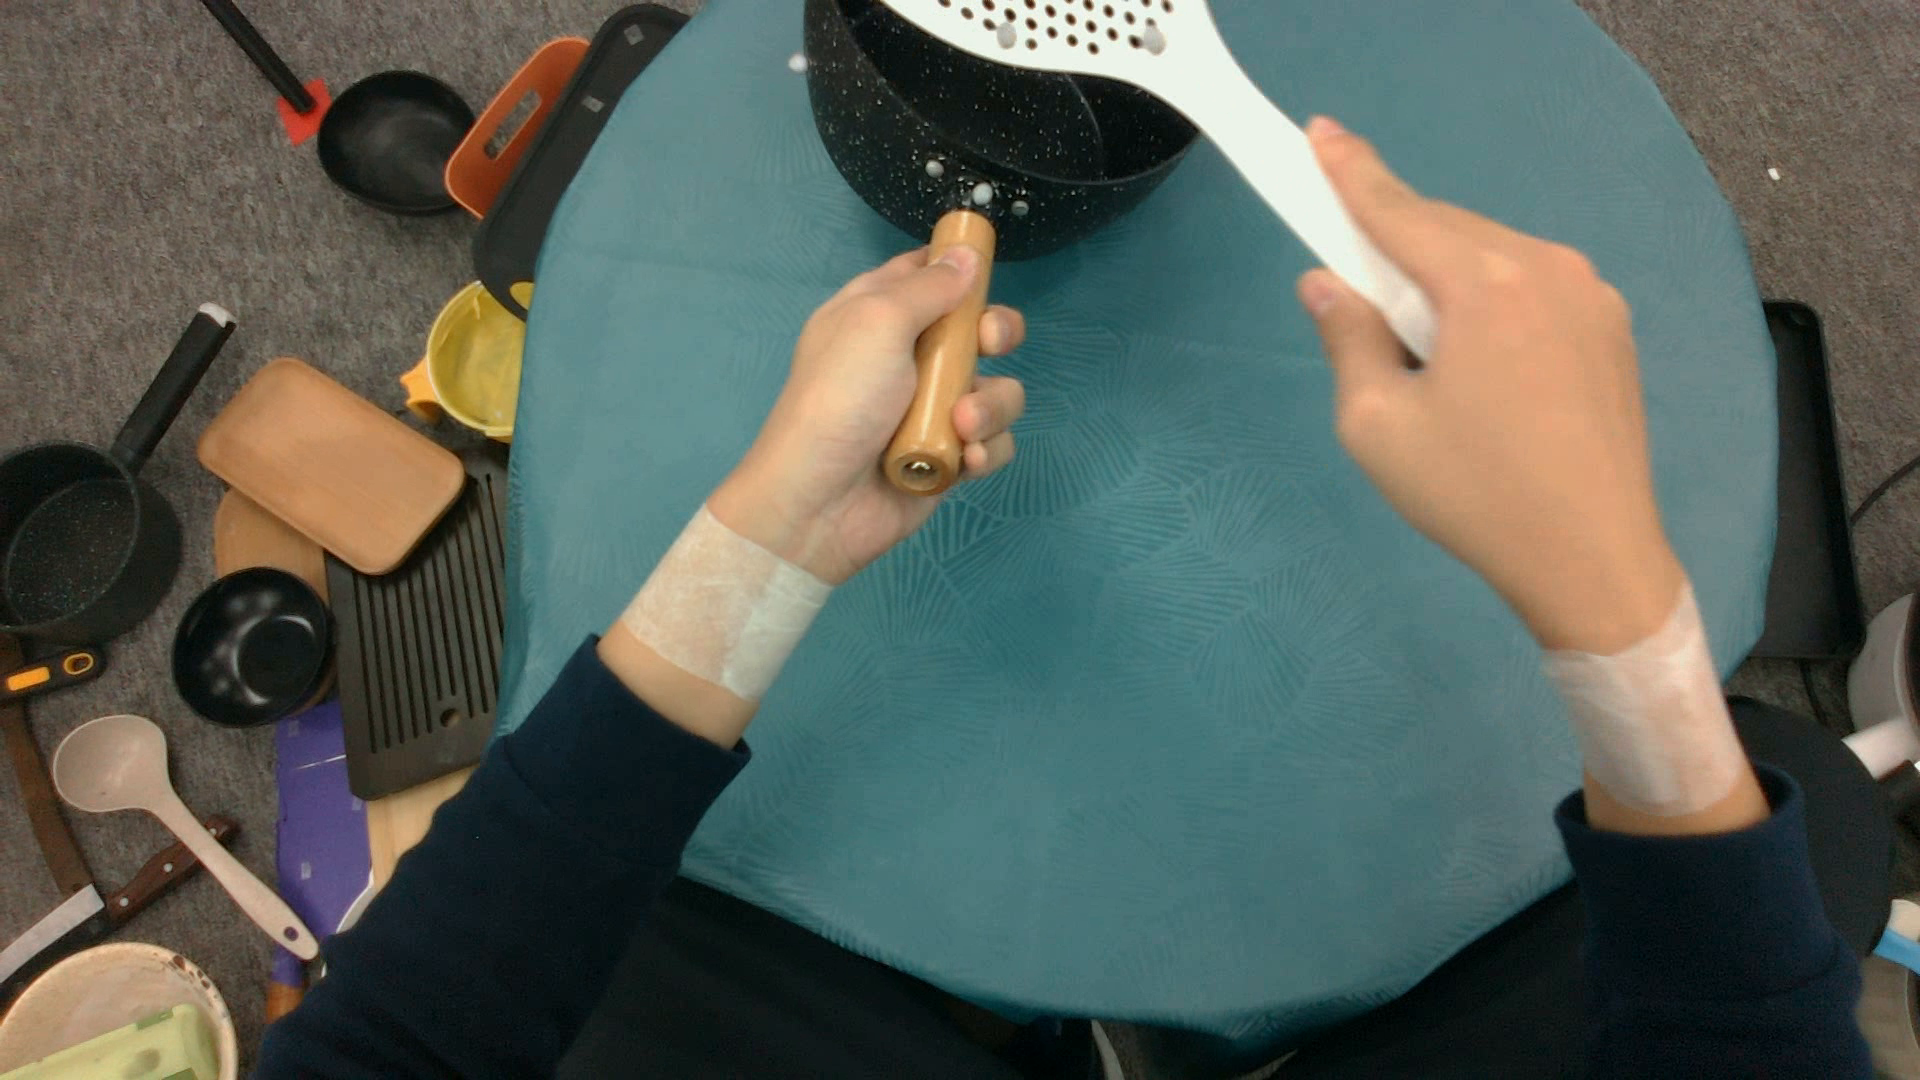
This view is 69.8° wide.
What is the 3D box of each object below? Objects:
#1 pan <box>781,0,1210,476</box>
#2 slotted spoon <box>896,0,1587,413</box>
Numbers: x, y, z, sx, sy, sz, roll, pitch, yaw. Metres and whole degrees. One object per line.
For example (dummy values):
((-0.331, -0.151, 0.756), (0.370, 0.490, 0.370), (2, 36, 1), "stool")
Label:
((-0.003, -0.154, 0.585), (0.207, 0.107, 0.344), (19, 60, -15), "pan")
((0.078, -0.170, 0.469), (0.136, 0.050, 0.348), (-40, 66, 7), "slotted spoon")
